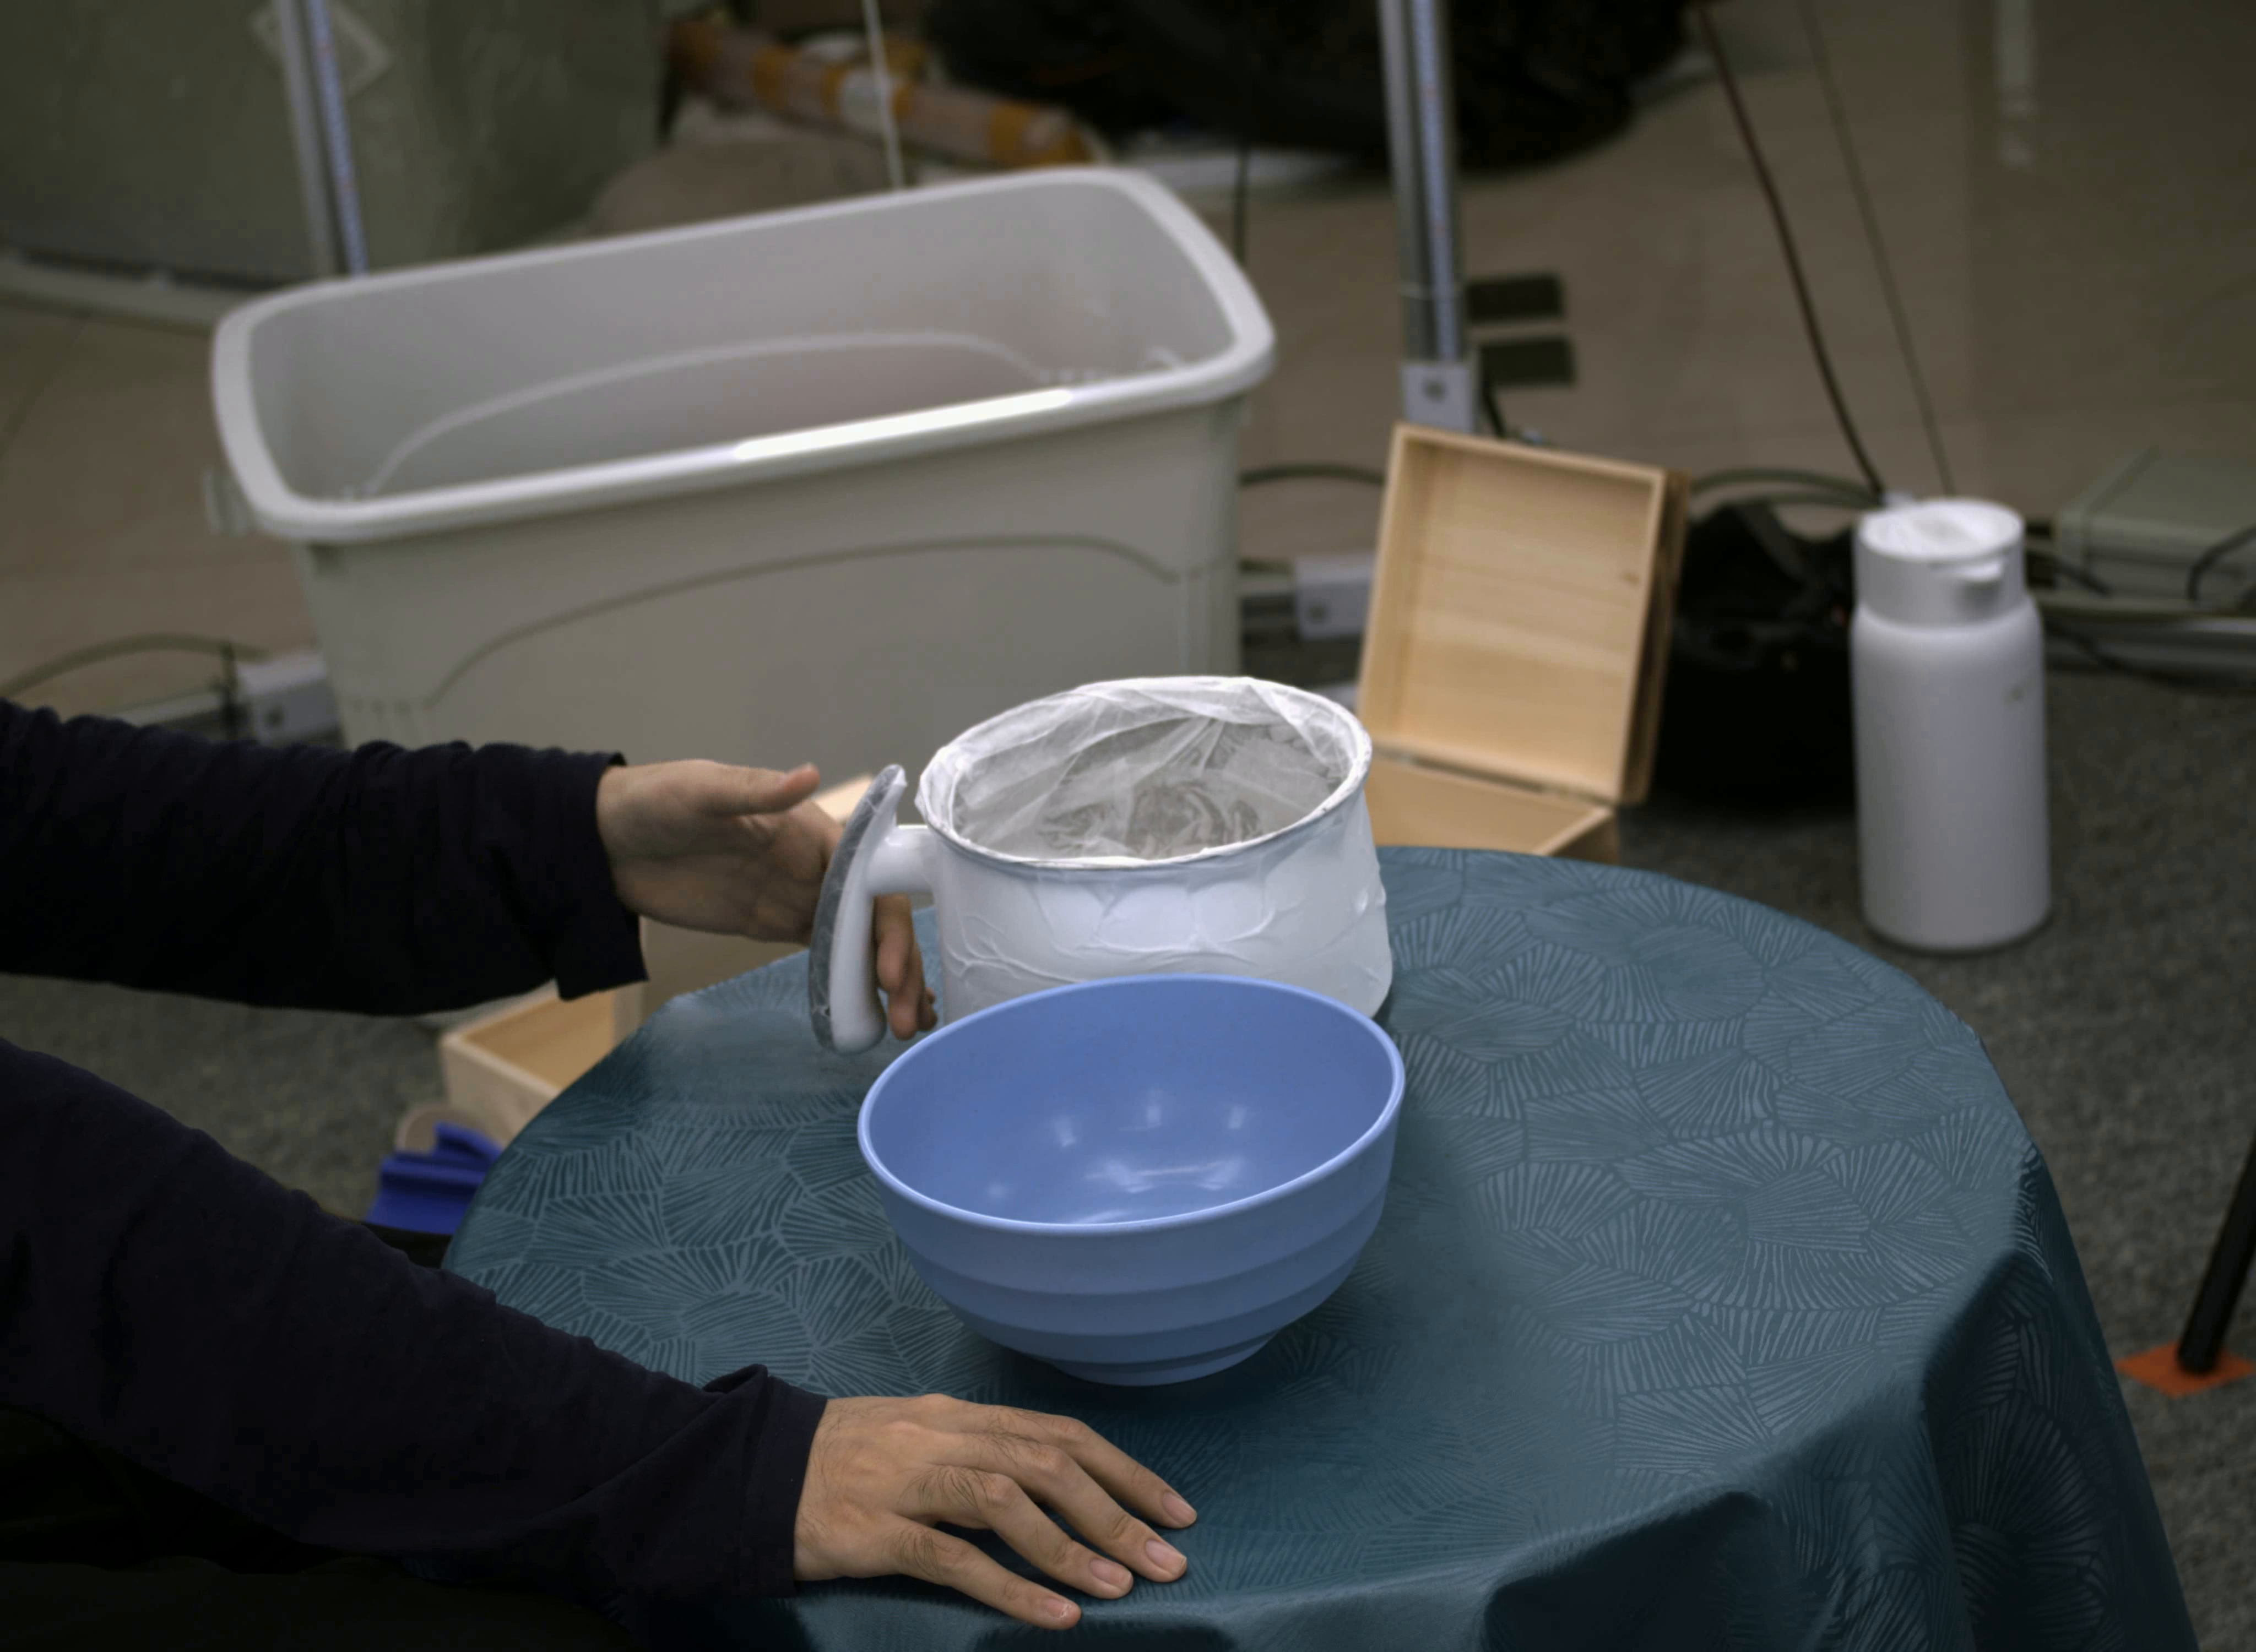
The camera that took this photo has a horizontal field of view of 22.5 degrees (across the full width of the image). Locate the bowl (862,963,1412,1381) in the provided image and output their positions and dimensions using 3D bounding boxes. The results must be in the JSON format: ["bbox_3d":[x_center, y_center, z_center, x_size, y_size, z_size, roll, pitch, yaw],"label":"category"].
[{"bbox_3d":[0.006,0.136,2.038,0.196,0.097,0.193,-3,27,2],"label":"bowl"}]

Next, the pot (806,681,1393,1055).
[{"bbox_3d":[-0.014,0.036,2.211,0.233,0.138,0.176,-2,23,8],"label":"pot"}]
